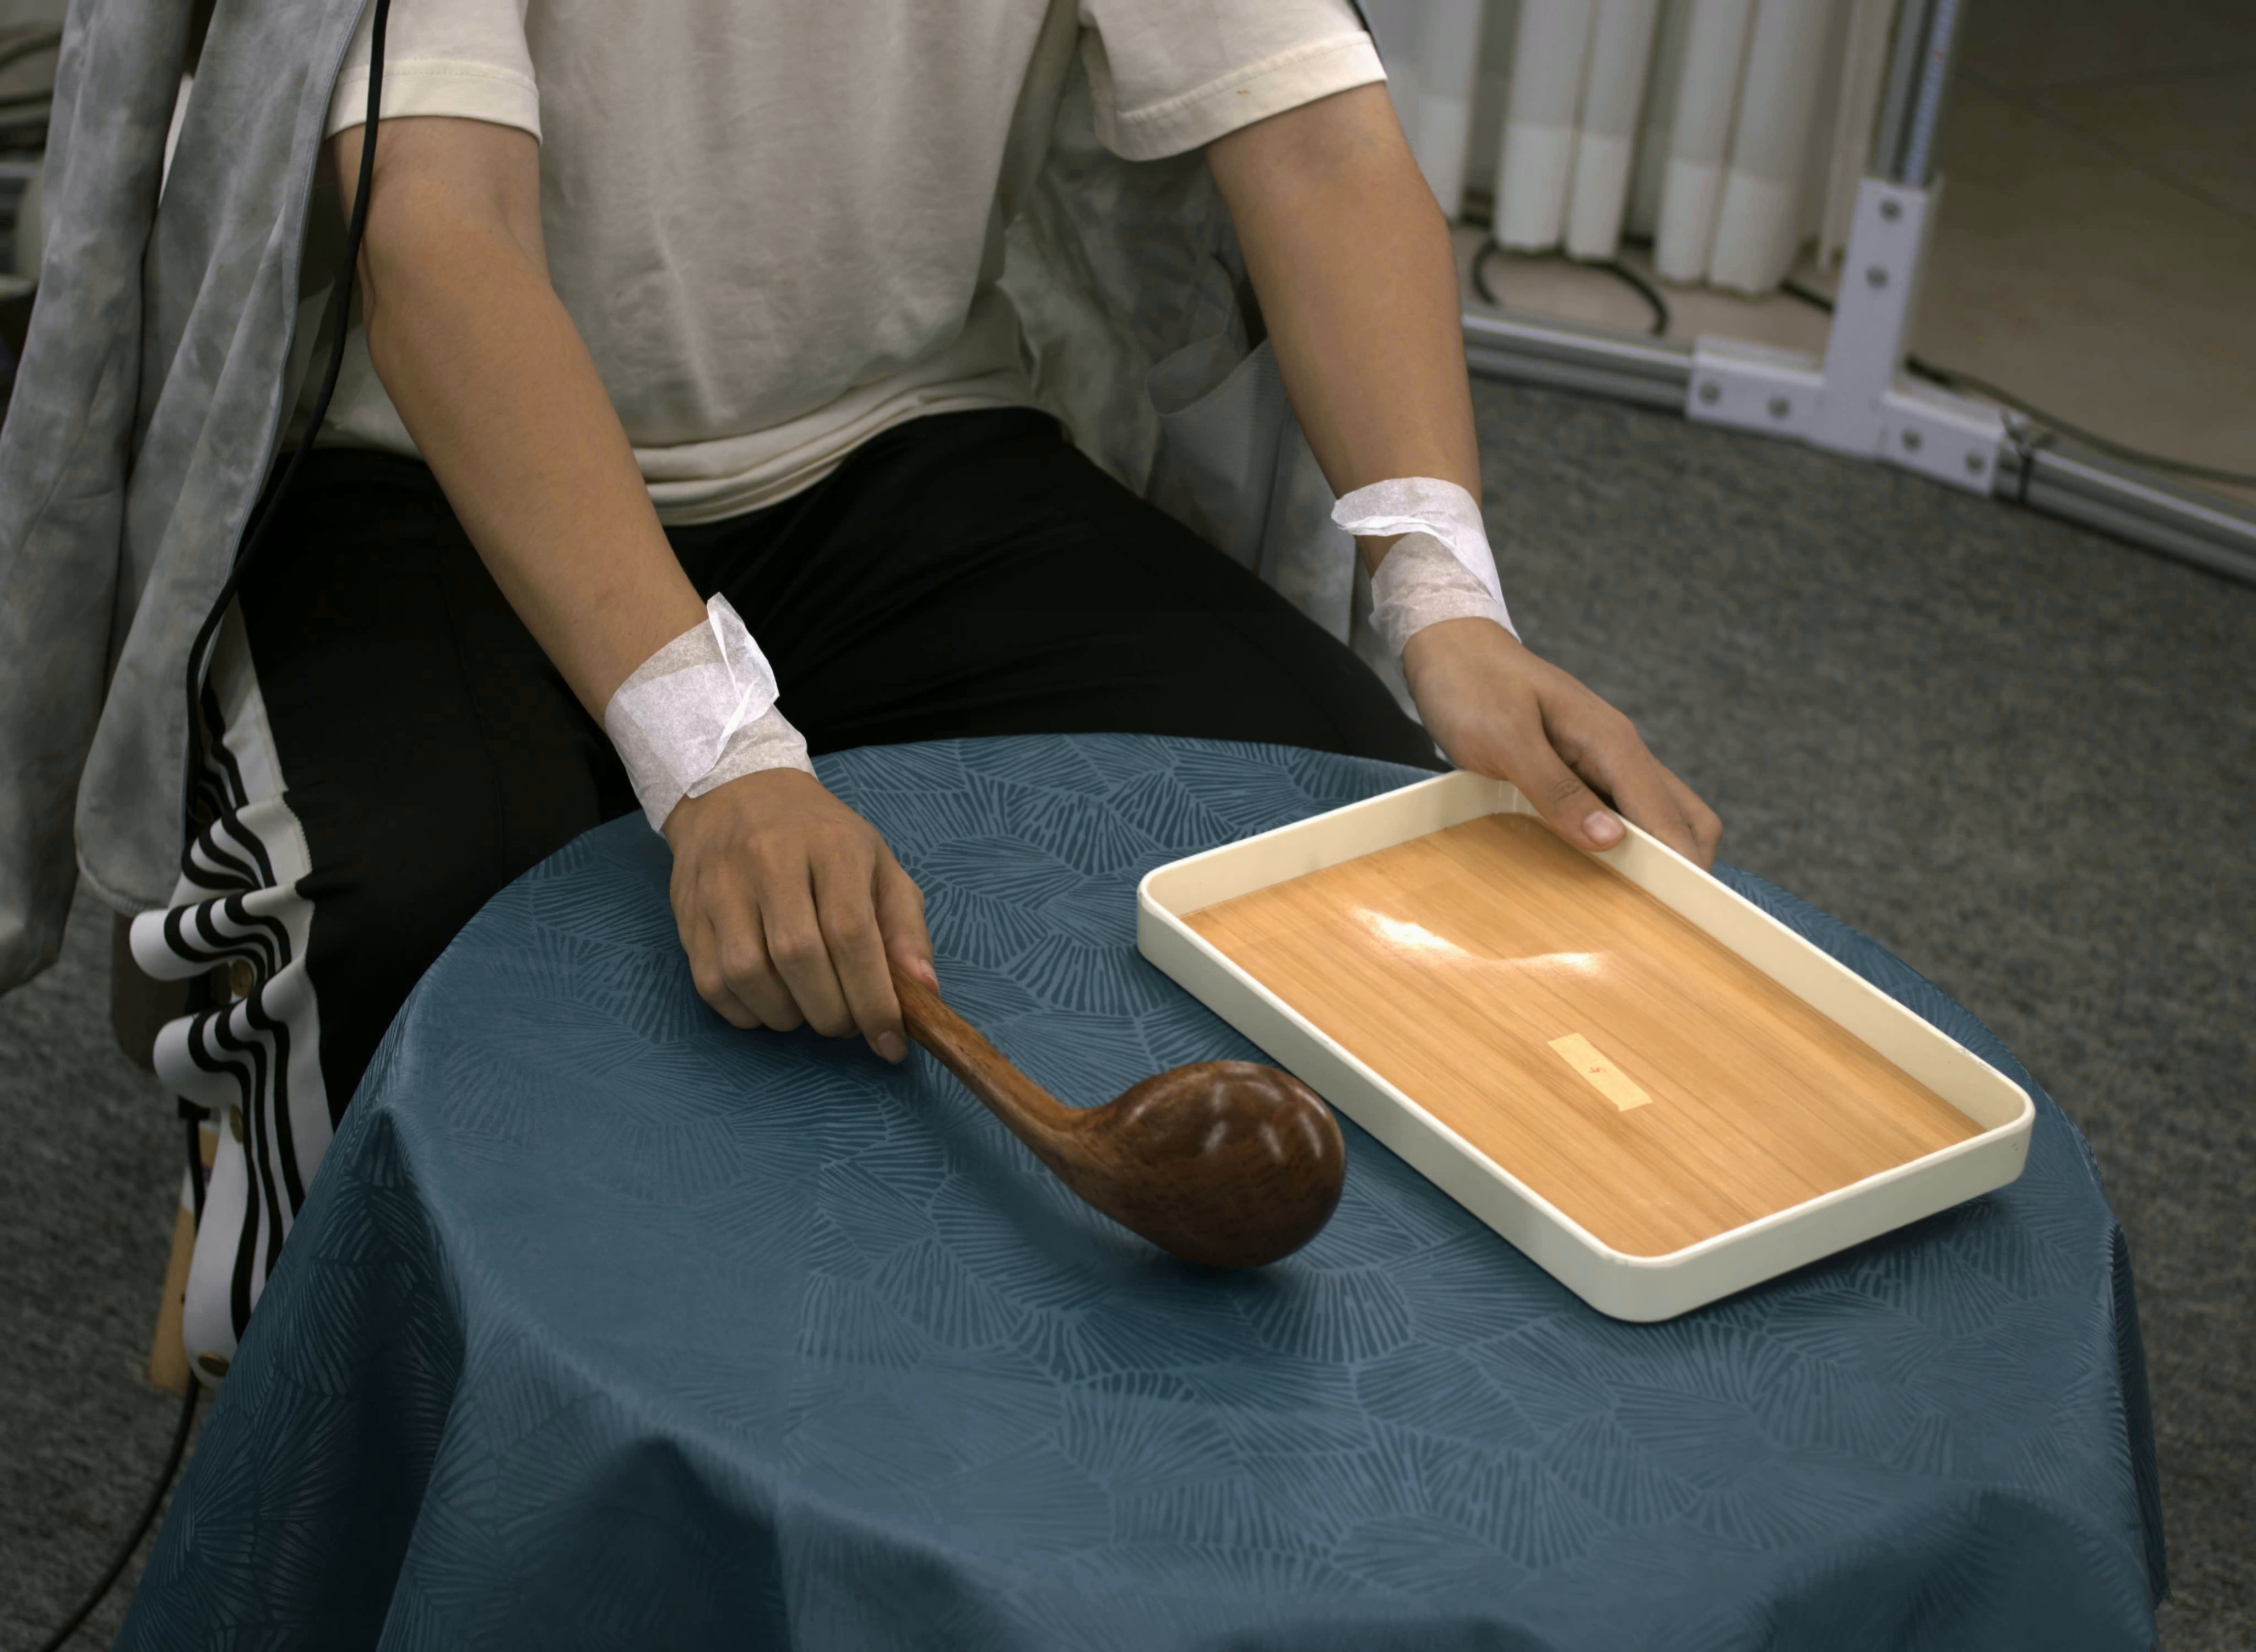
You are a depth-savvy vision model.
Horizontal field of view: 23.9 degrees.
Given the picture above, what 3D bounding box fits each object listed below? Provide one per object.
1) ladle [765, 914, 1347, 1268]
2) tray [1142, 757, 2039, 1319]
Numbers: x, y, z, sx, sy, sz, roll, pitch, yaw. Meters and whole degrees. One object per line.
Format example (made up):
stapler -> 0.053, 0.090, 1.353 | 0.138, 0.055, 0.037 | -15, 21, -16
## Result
ladle -> -0.027, 0.073, 1.827 | 0.076, 0.081, 0.276 | -24, 33, -24
tray -> 0.159, 0.070, 1.899 | 0.190, 0.027, 0.303 | -18, 35, -30
